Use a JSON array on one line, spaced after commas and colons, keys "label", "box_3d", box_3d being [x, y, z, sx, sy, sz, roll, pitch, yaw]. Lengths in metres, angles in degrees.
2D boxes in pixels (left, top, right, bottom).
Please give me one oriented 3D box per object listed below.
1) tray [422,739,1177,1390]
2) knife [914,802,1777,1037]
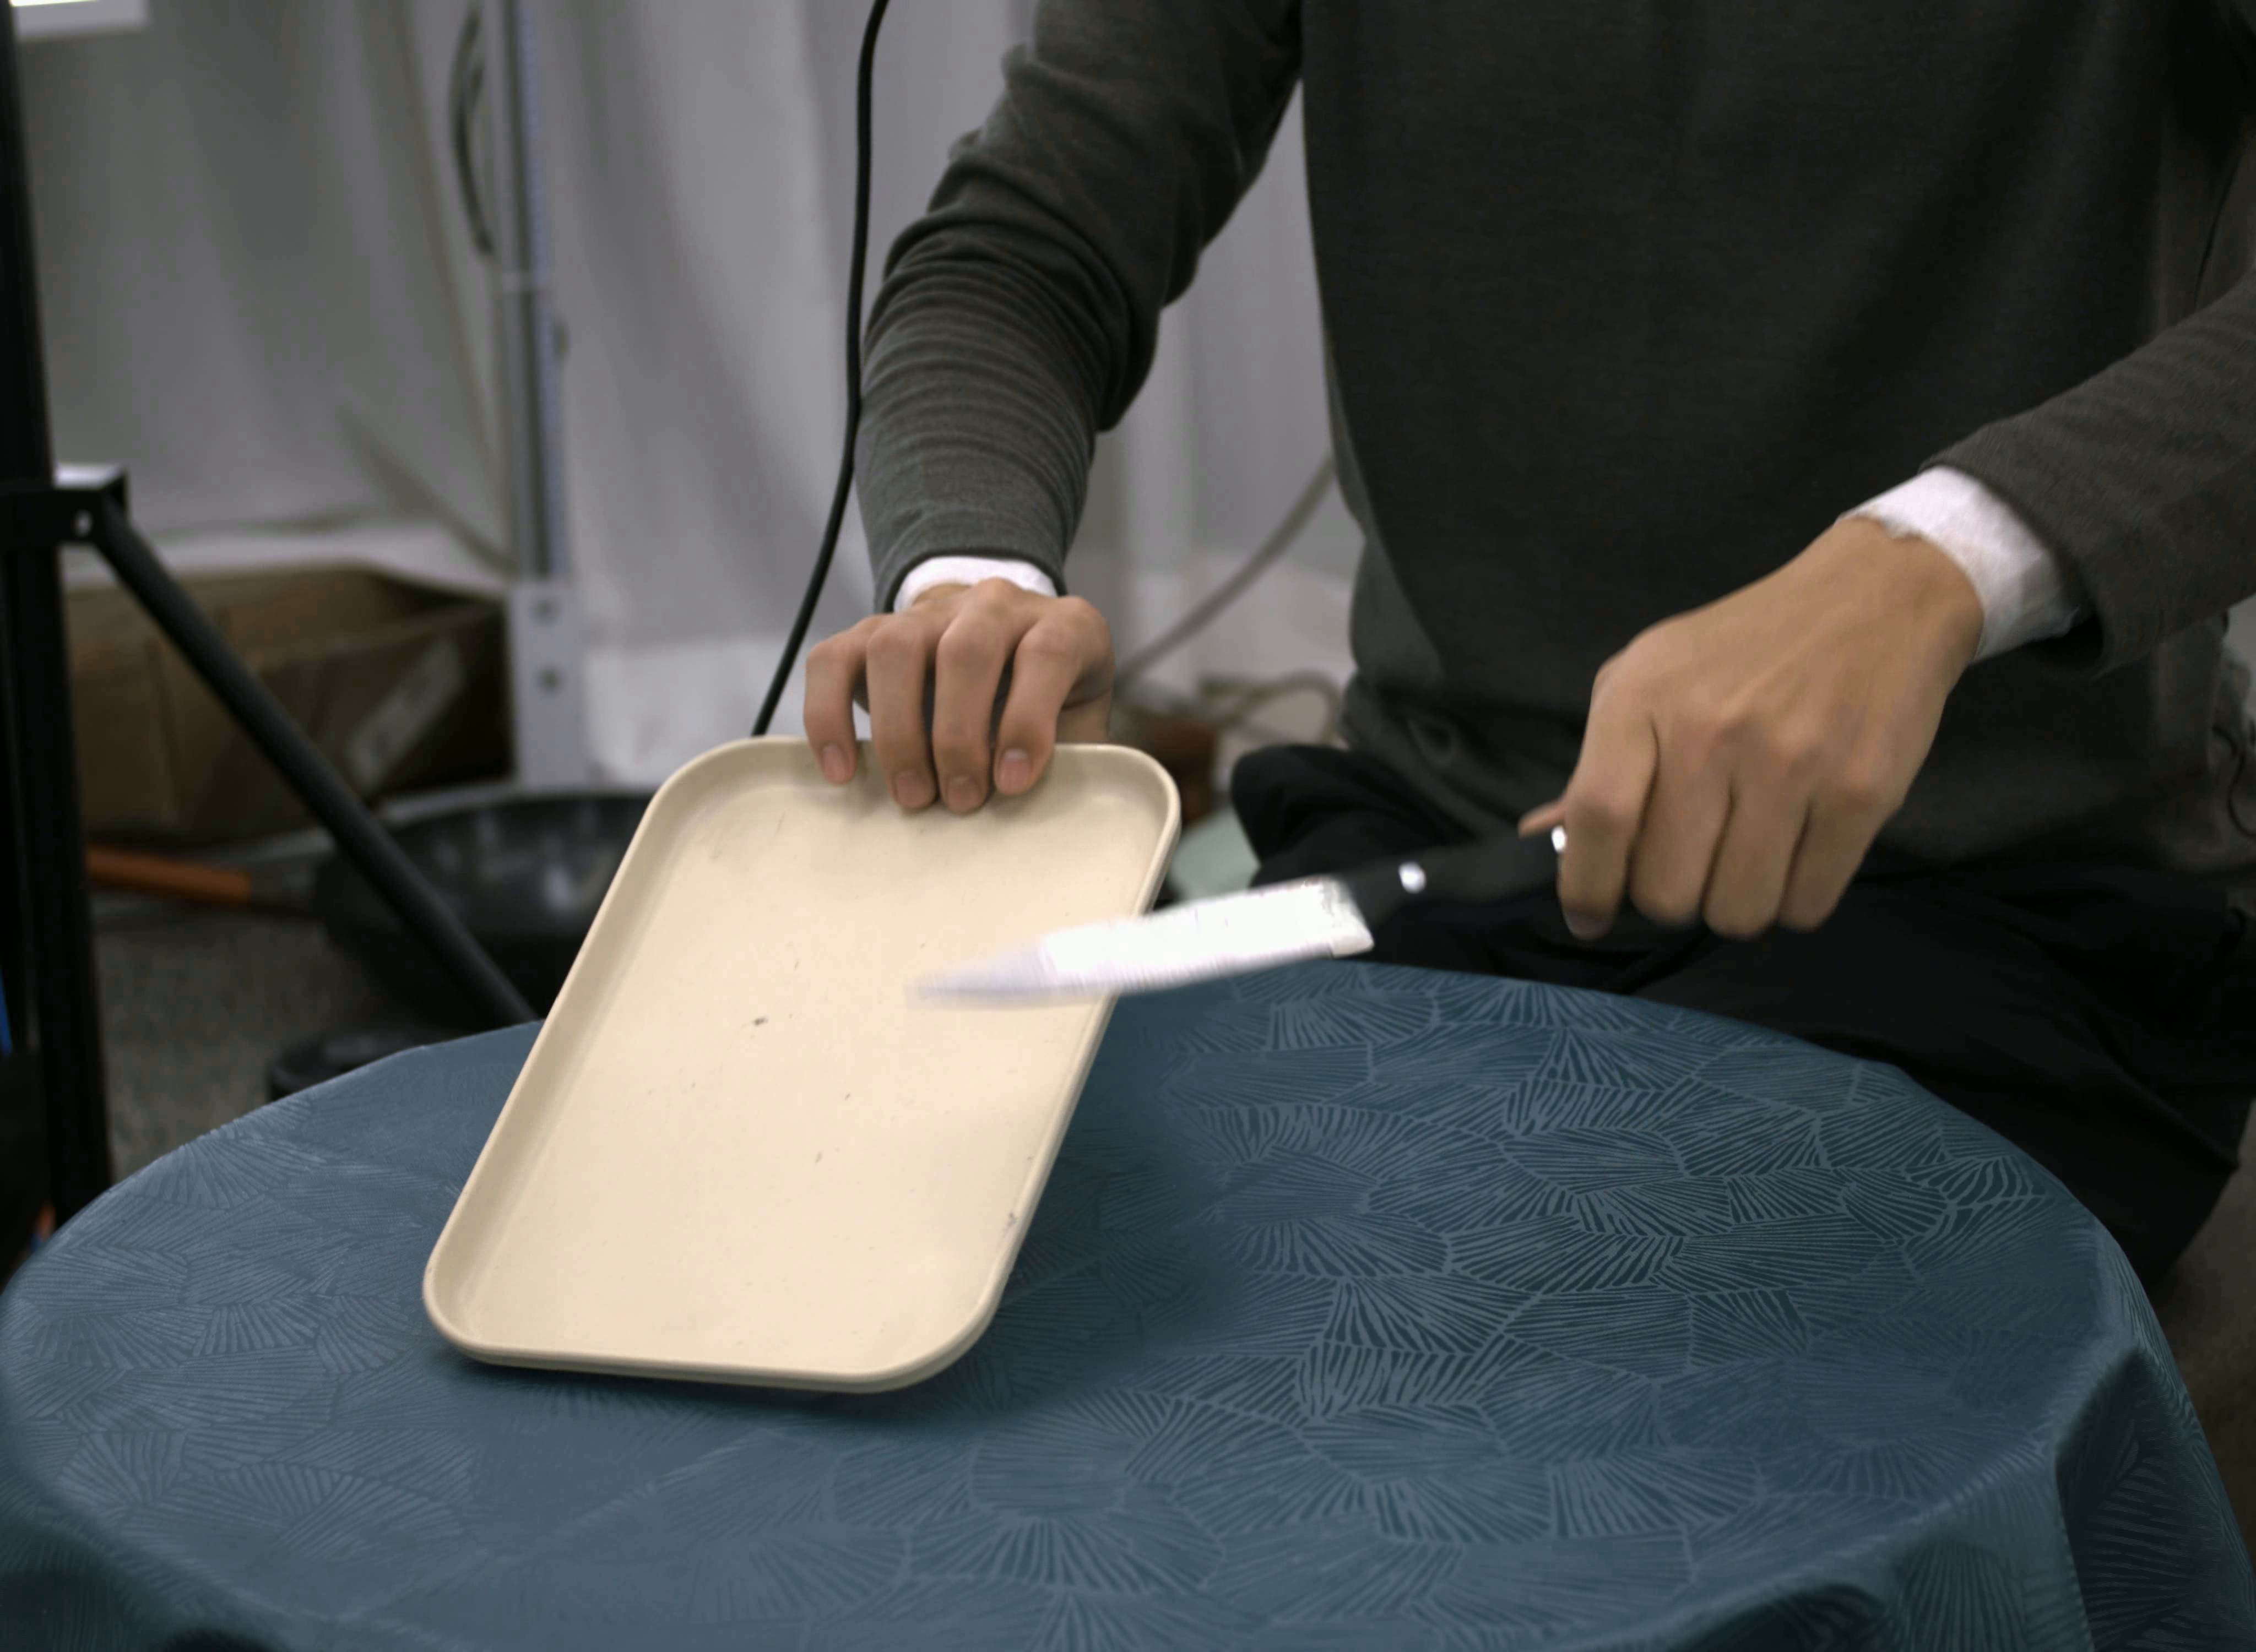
[{"label": "tray", "box_3d": [-0.088, 0.065, 1.498, 0.173, 0.017, 0.239, 1, 45, 24]}, {"label": "knife", "box_3d": [0.058, 0.027, 1.418, 0.236, 0.016, 0.025, -13, 54, -4]}]
